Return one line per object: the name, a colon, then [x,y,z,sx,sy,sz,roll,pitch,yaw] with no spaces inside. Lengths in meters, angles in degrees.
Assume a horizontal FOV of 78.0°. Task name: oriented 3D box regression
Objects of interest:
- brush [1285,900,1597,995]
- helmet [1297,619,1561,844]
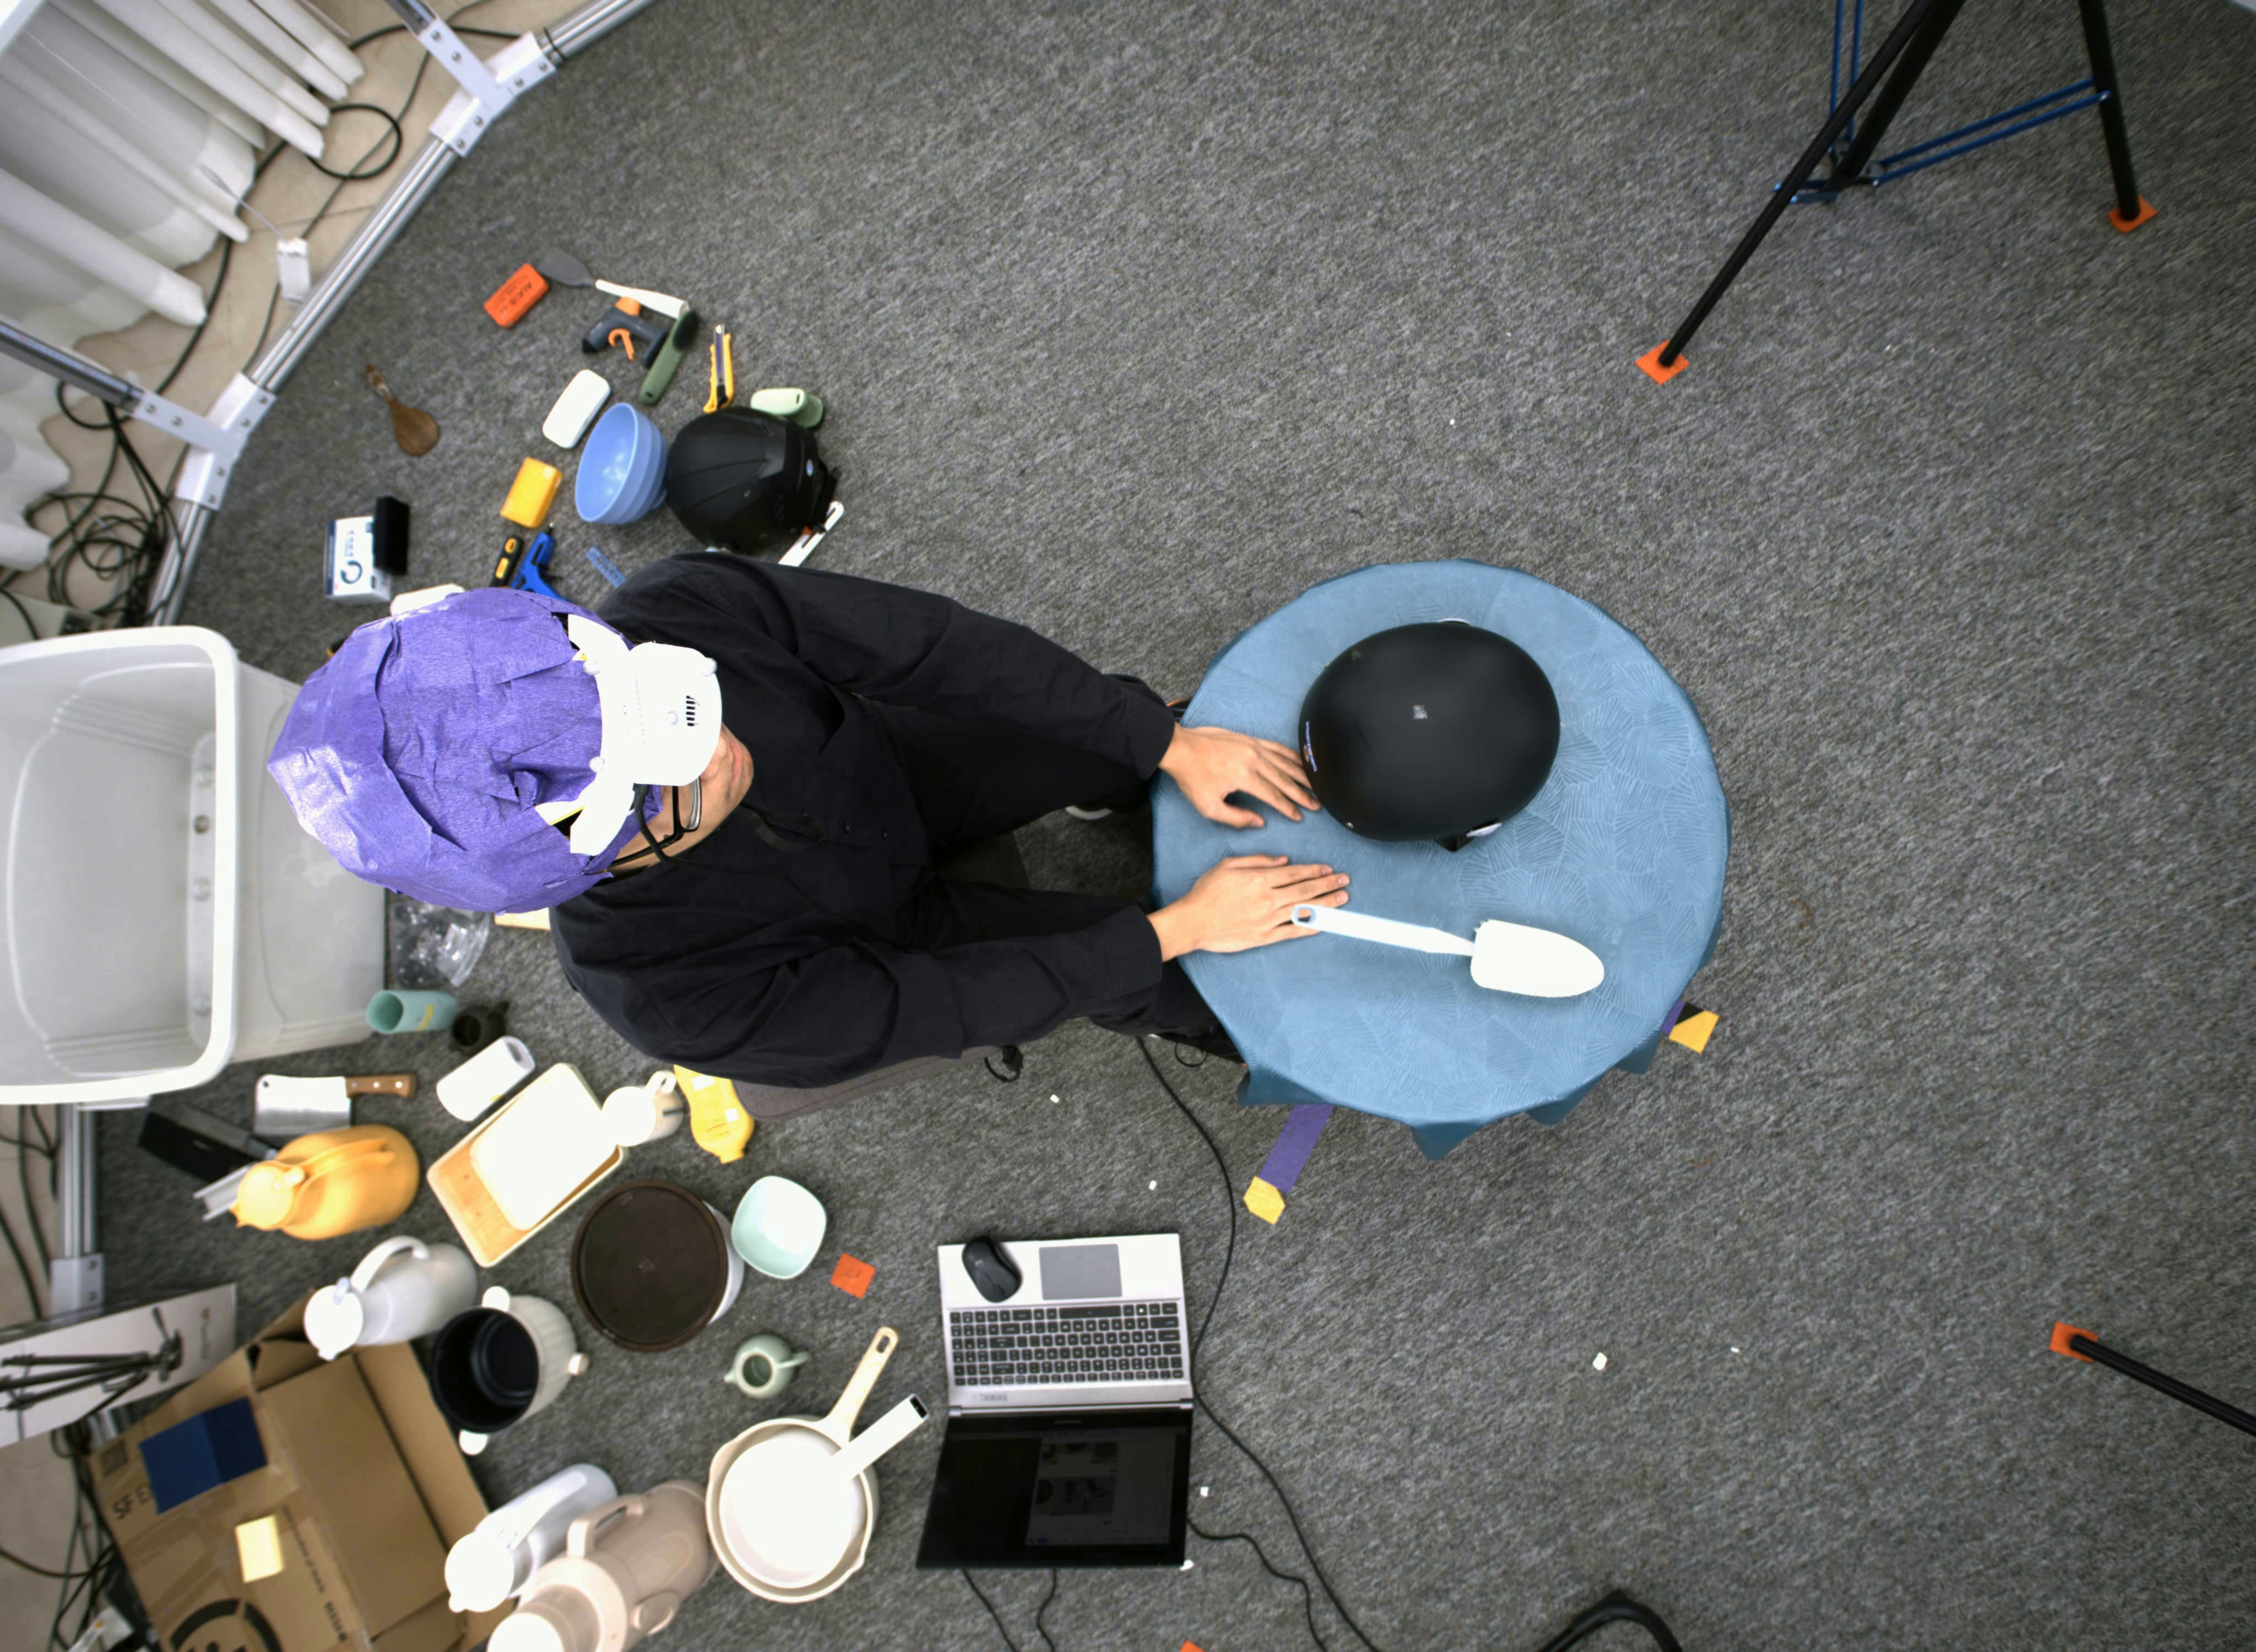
brush: [0.315,0.112,1.405,0.326,0.087,0.081,11,51,-1]
helmet: [0.307,-0.101,1.381,0.274,0.167,0.229,-5,86,7]
